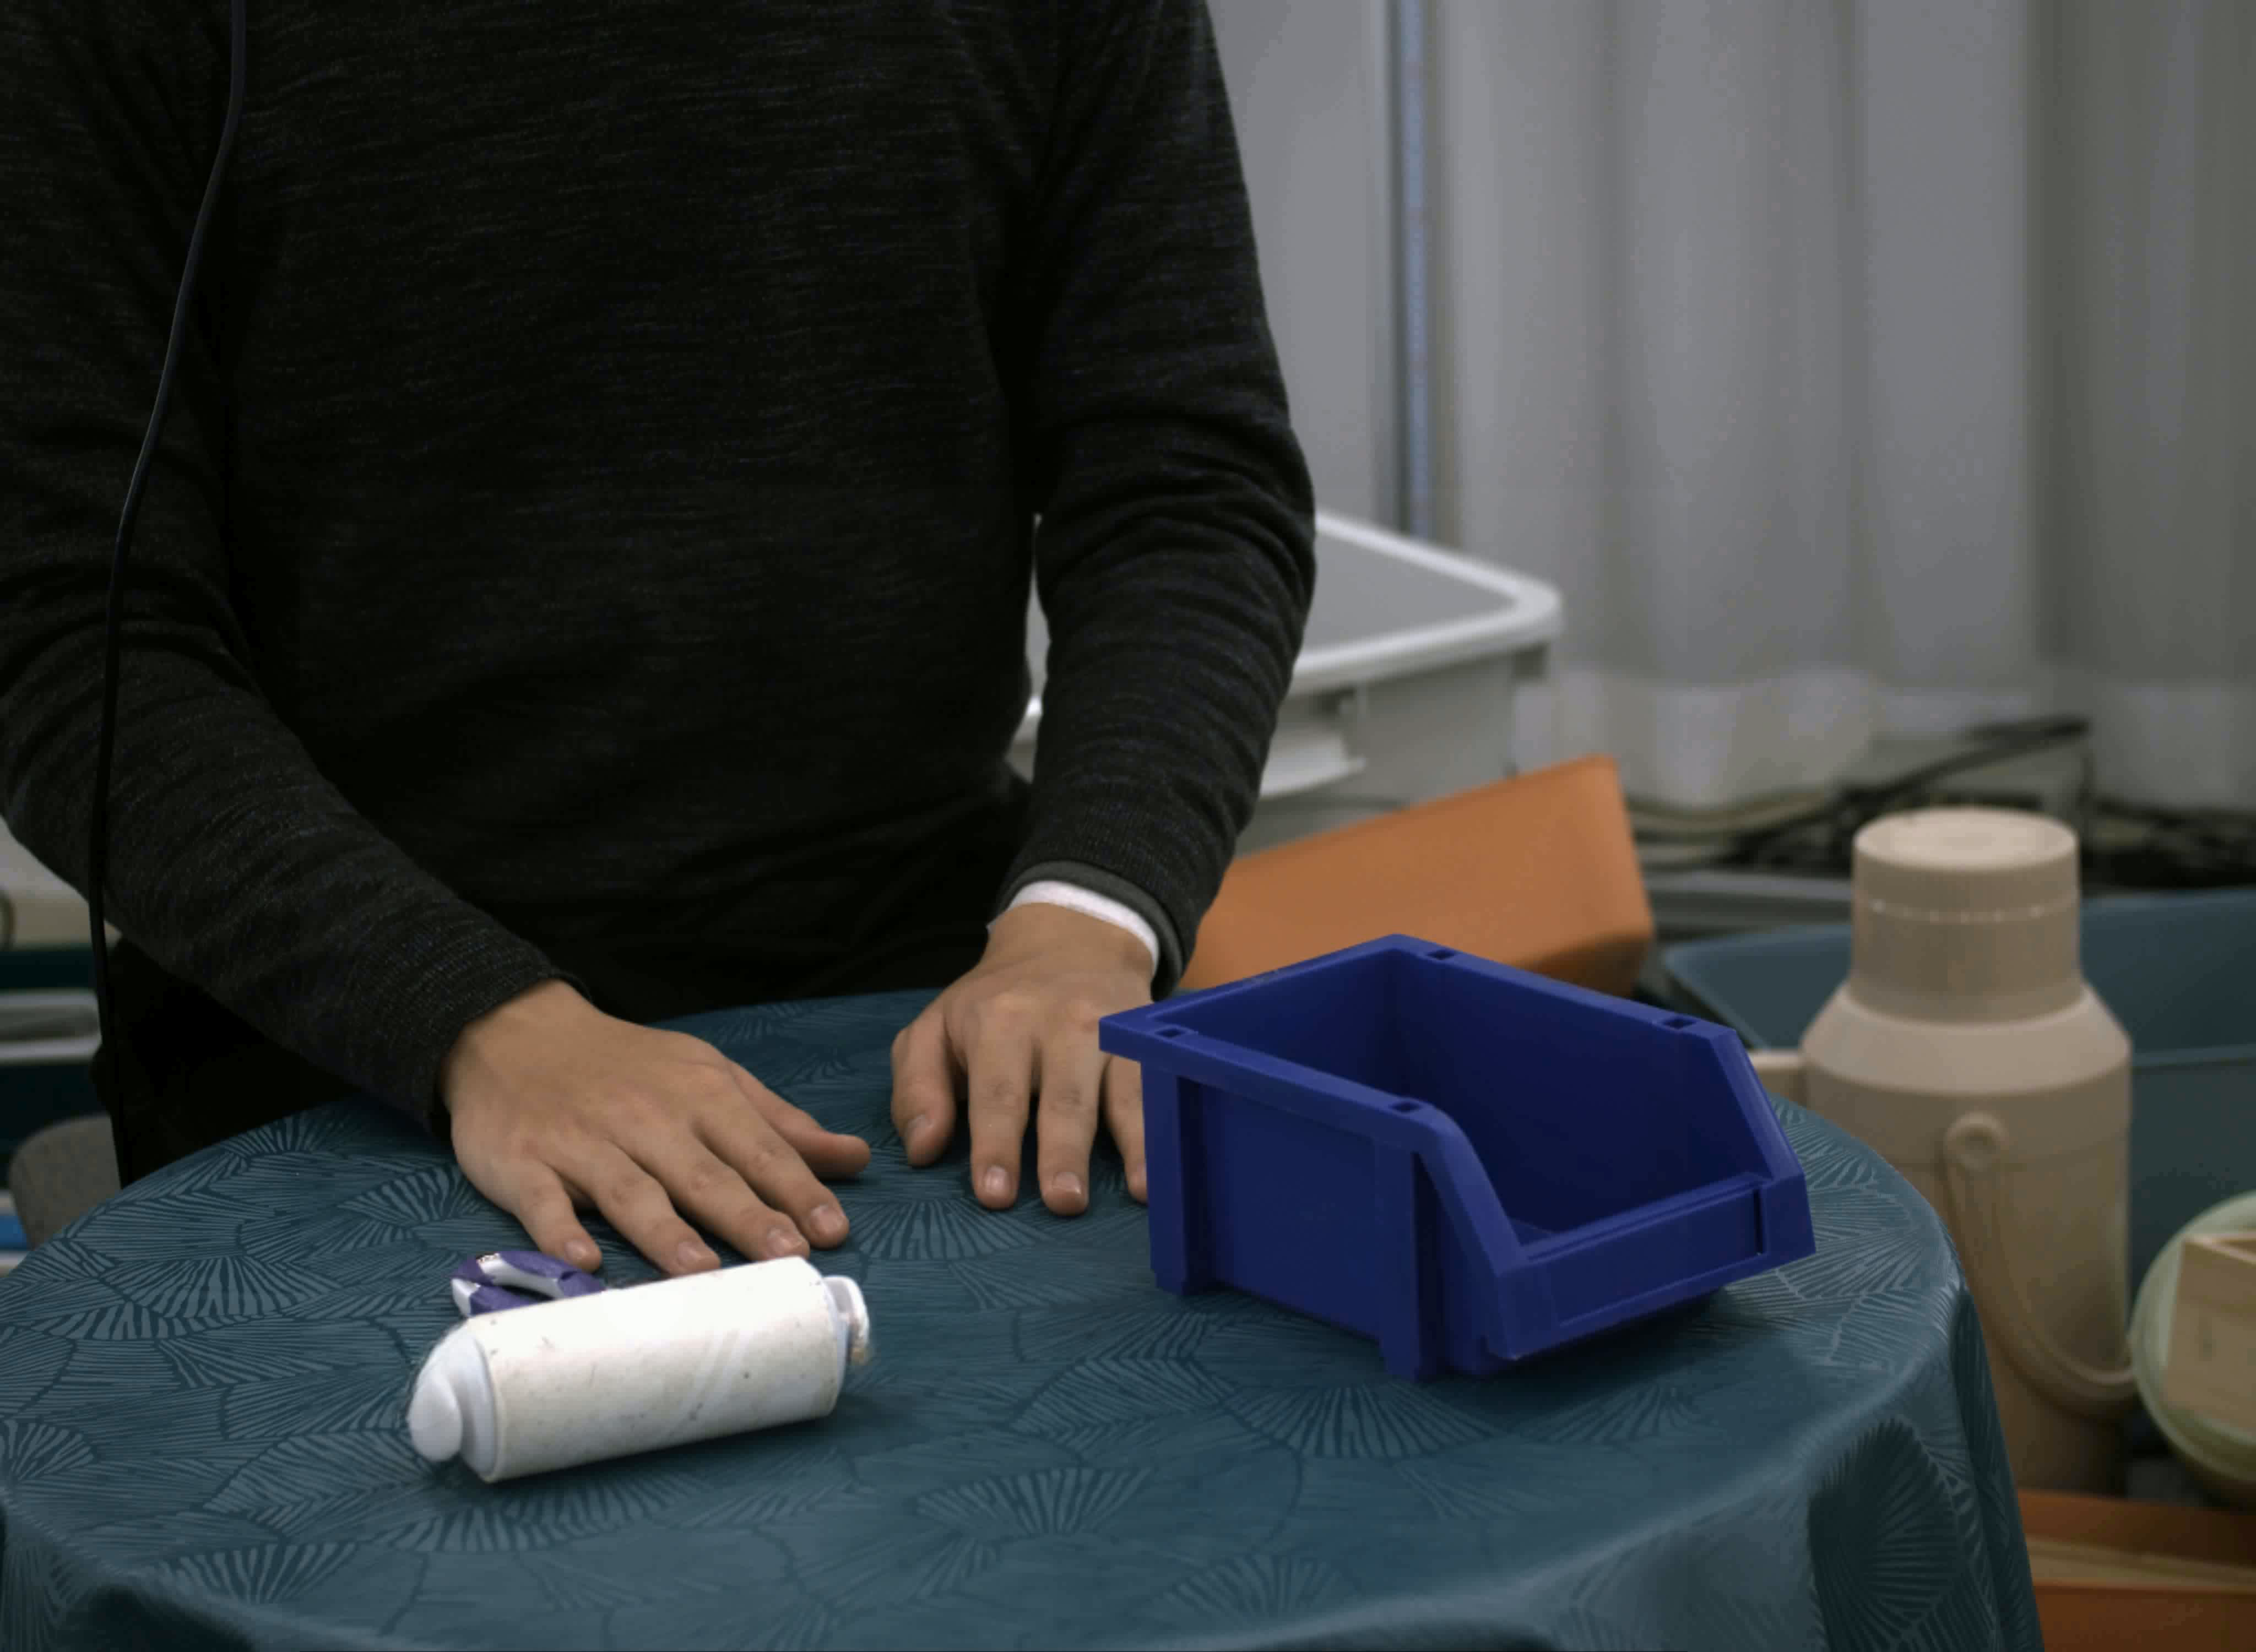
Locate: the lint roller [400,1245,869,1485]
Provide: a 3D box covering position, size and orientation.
[{"bbox_3d":[-0.159,0.135,1.575,0.132,0.050,0.182,-9,18,-20],"label":"lint roller"}]

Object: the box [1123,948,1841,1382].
[{"bbox_3d":[0.103,0.099,1.594,0.124,0.081,0.180,-13,15,-35],"label":"box"}]
